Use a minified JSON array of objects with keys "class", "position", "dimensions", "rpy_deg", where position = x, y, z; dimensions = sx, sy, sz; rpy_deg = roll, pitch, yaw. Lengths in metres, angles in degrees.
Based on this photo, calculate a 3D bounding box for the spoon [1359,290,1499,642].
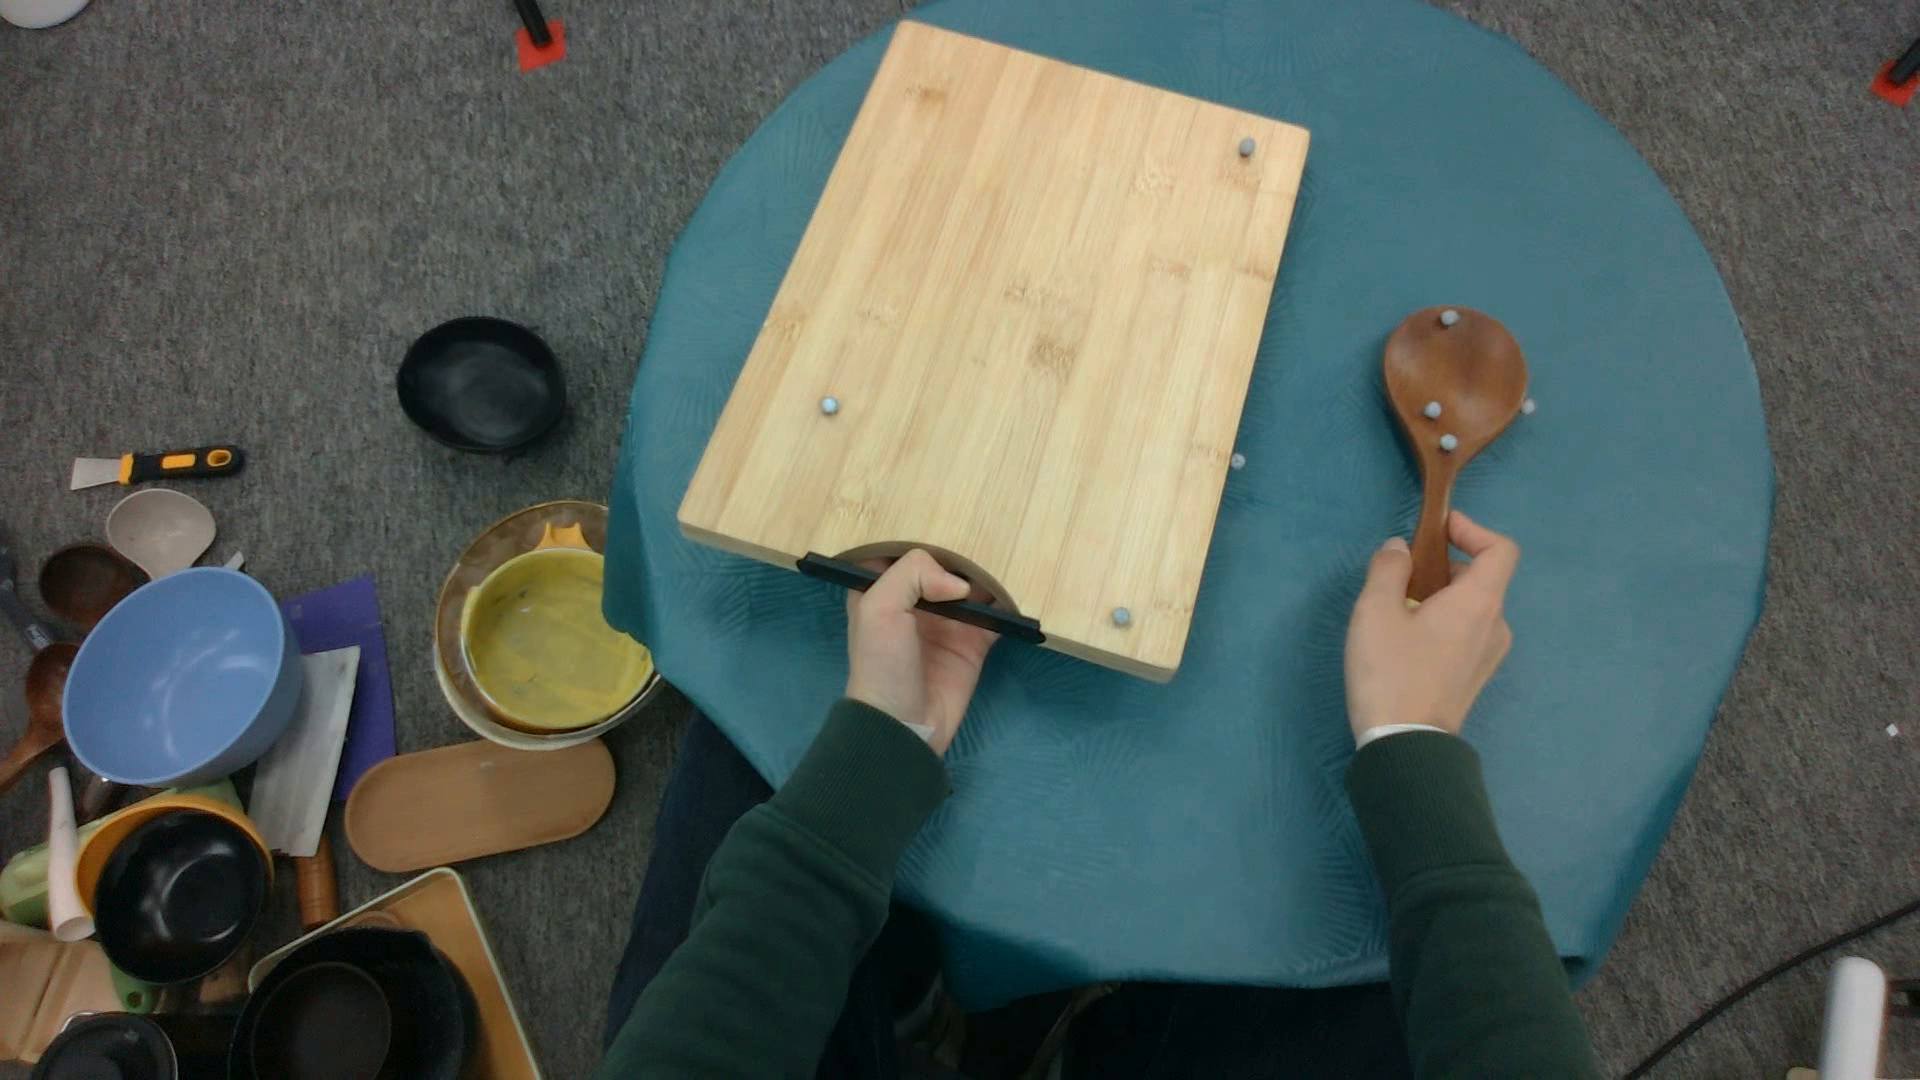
[{"class":"spoon","position":[0.230,-0.043,0.693],"dimensions":[0.075,0.017,0.217],"rpy_deg":[16,59,4]}]

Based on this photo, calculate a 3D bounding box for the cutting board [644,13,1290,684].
[{"class":"cutting board","position":[0.020,-0.116,0.704],"dimensions":[0.250,0.023,0.350],"rpy_deg":[15,63,3]}]
